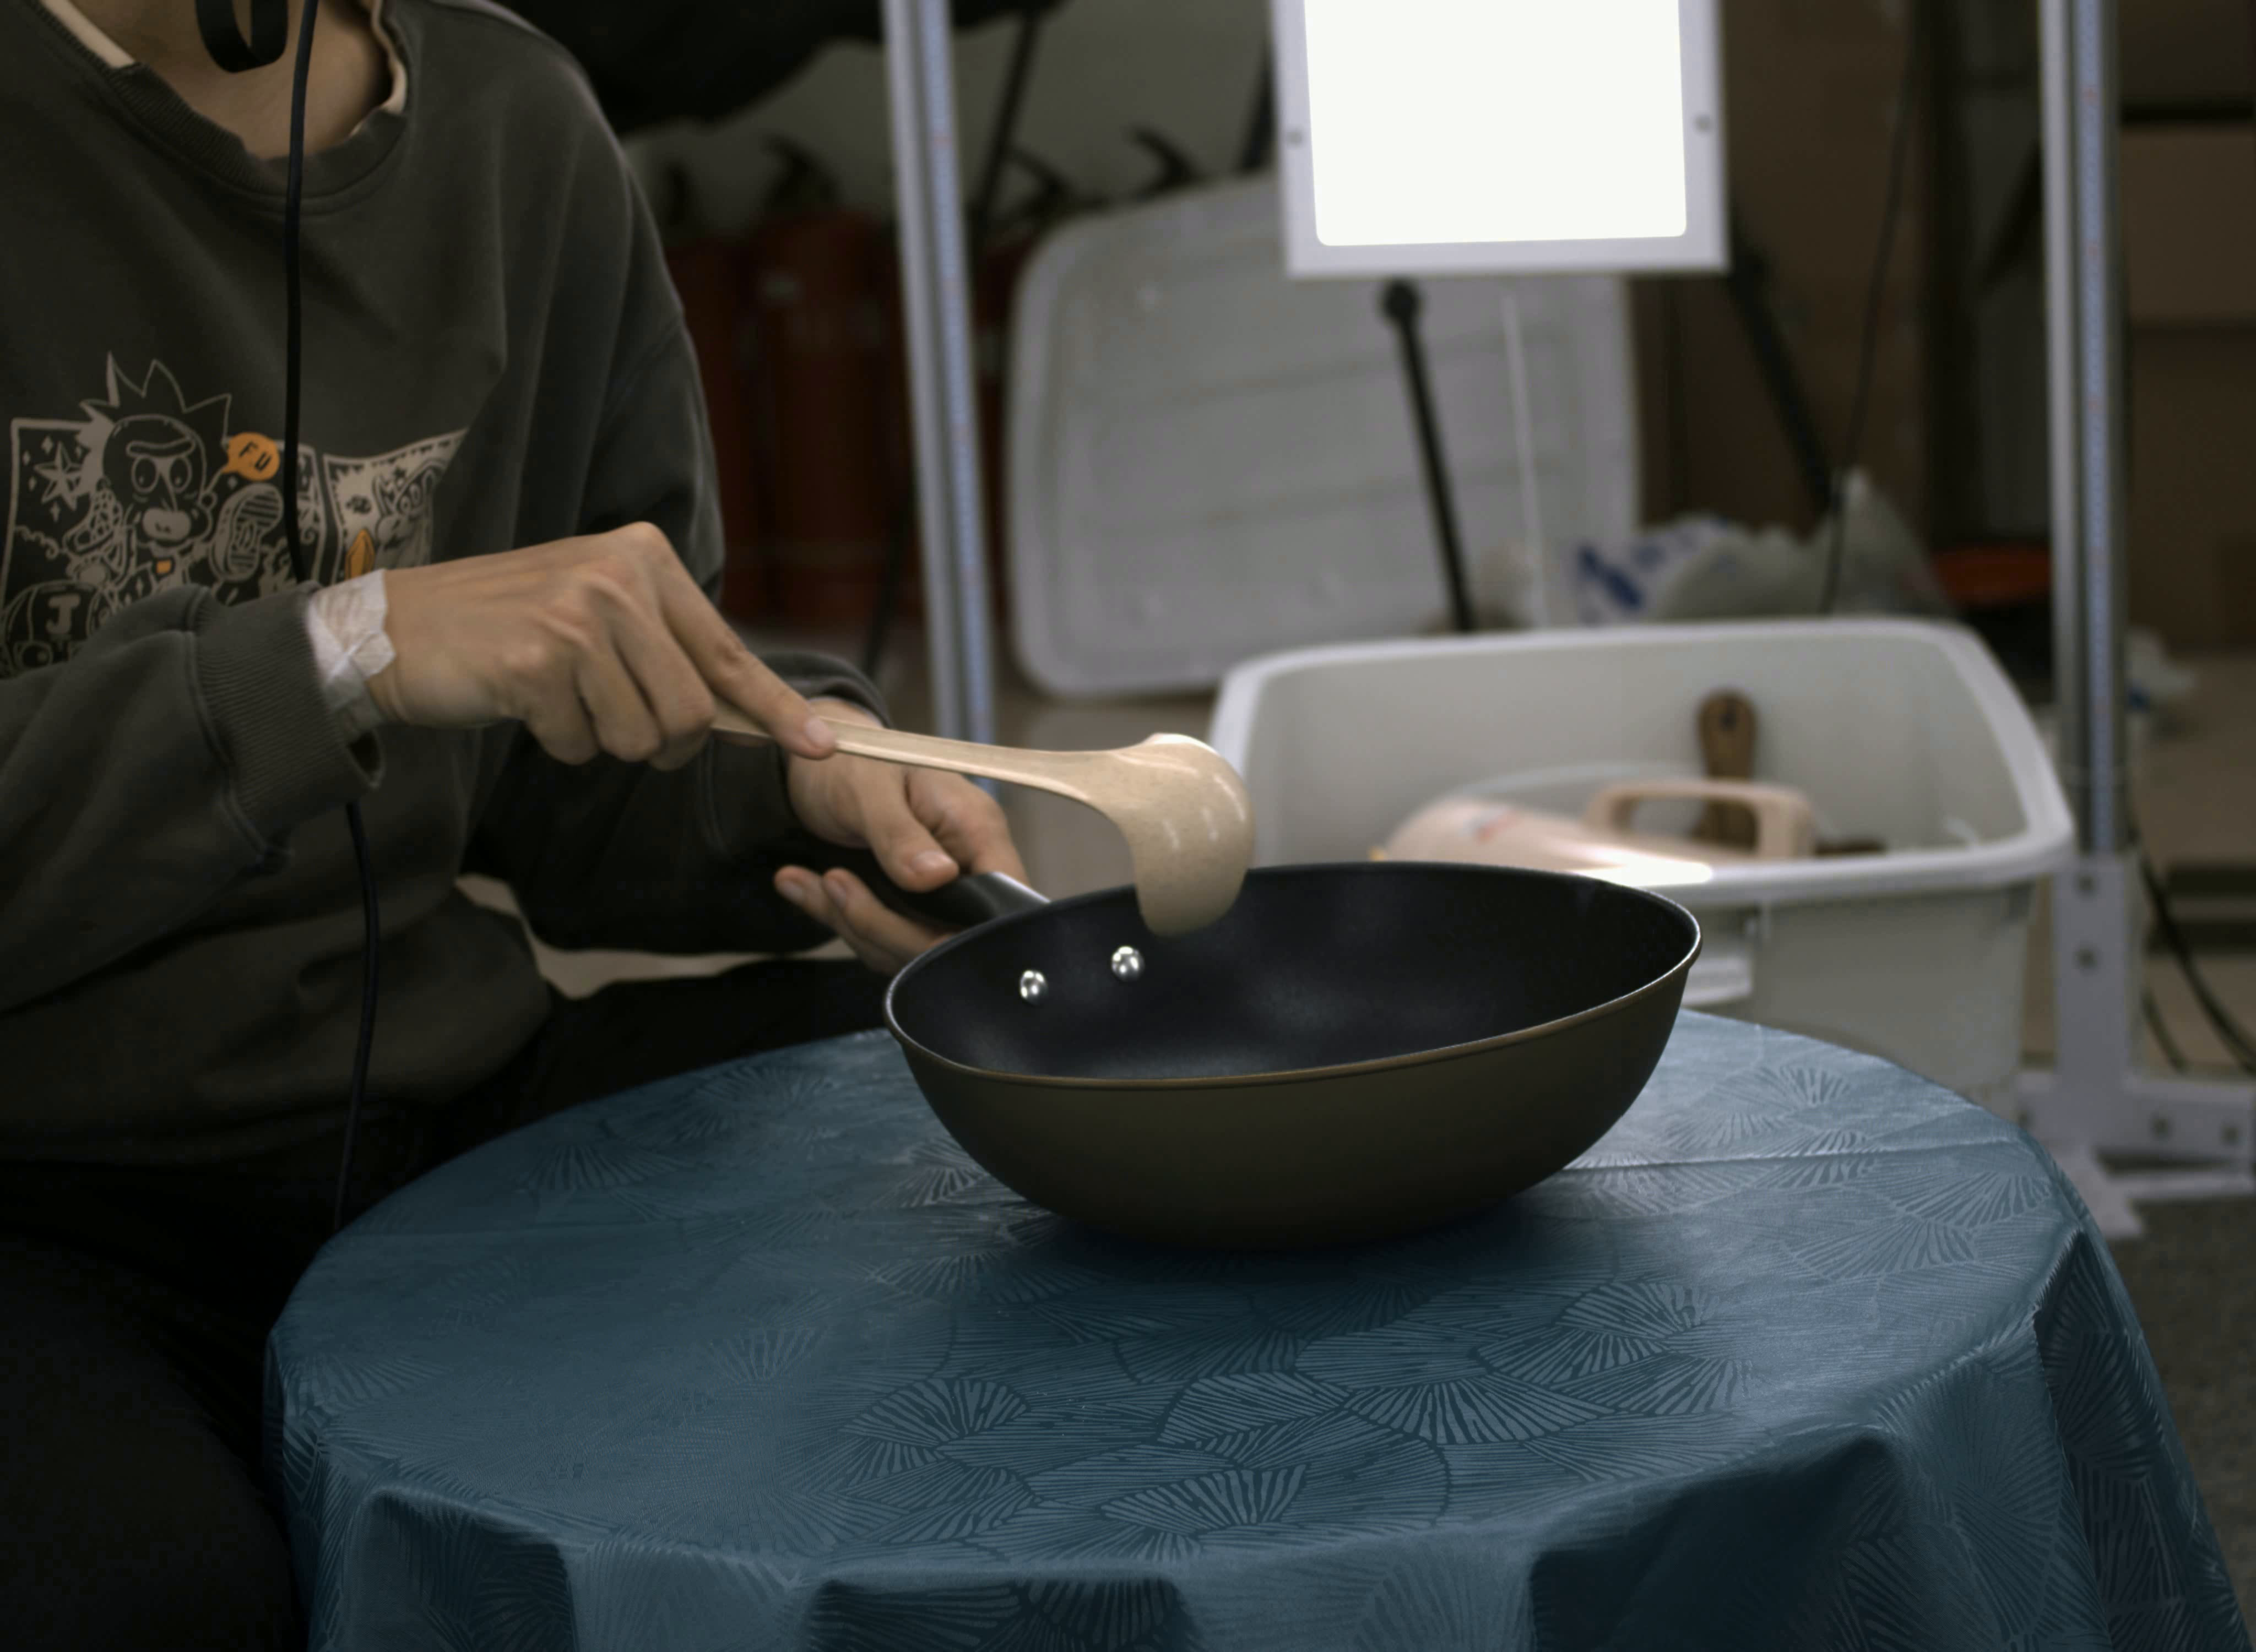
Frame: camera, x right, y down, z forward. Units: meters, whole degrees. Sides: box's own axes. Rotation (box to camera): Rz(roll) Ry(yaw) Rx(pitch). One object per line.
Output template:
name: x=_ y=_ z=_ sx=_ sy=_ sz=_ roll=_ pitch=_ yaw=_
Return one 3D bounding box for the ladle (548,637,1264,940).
ladle: x=-0.079 y=-0.017 z=1.908 sx=0.253 sy=0.072 sz=0.073 roll=12 pitch=-27 yaw=-3

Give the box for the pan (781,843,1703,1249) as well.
pan: x=0.004 y=0.072 z=1.947 sx=0.281 sy=0.087 sz=0.473 roll=-14 pitch=14 yaw=-33
